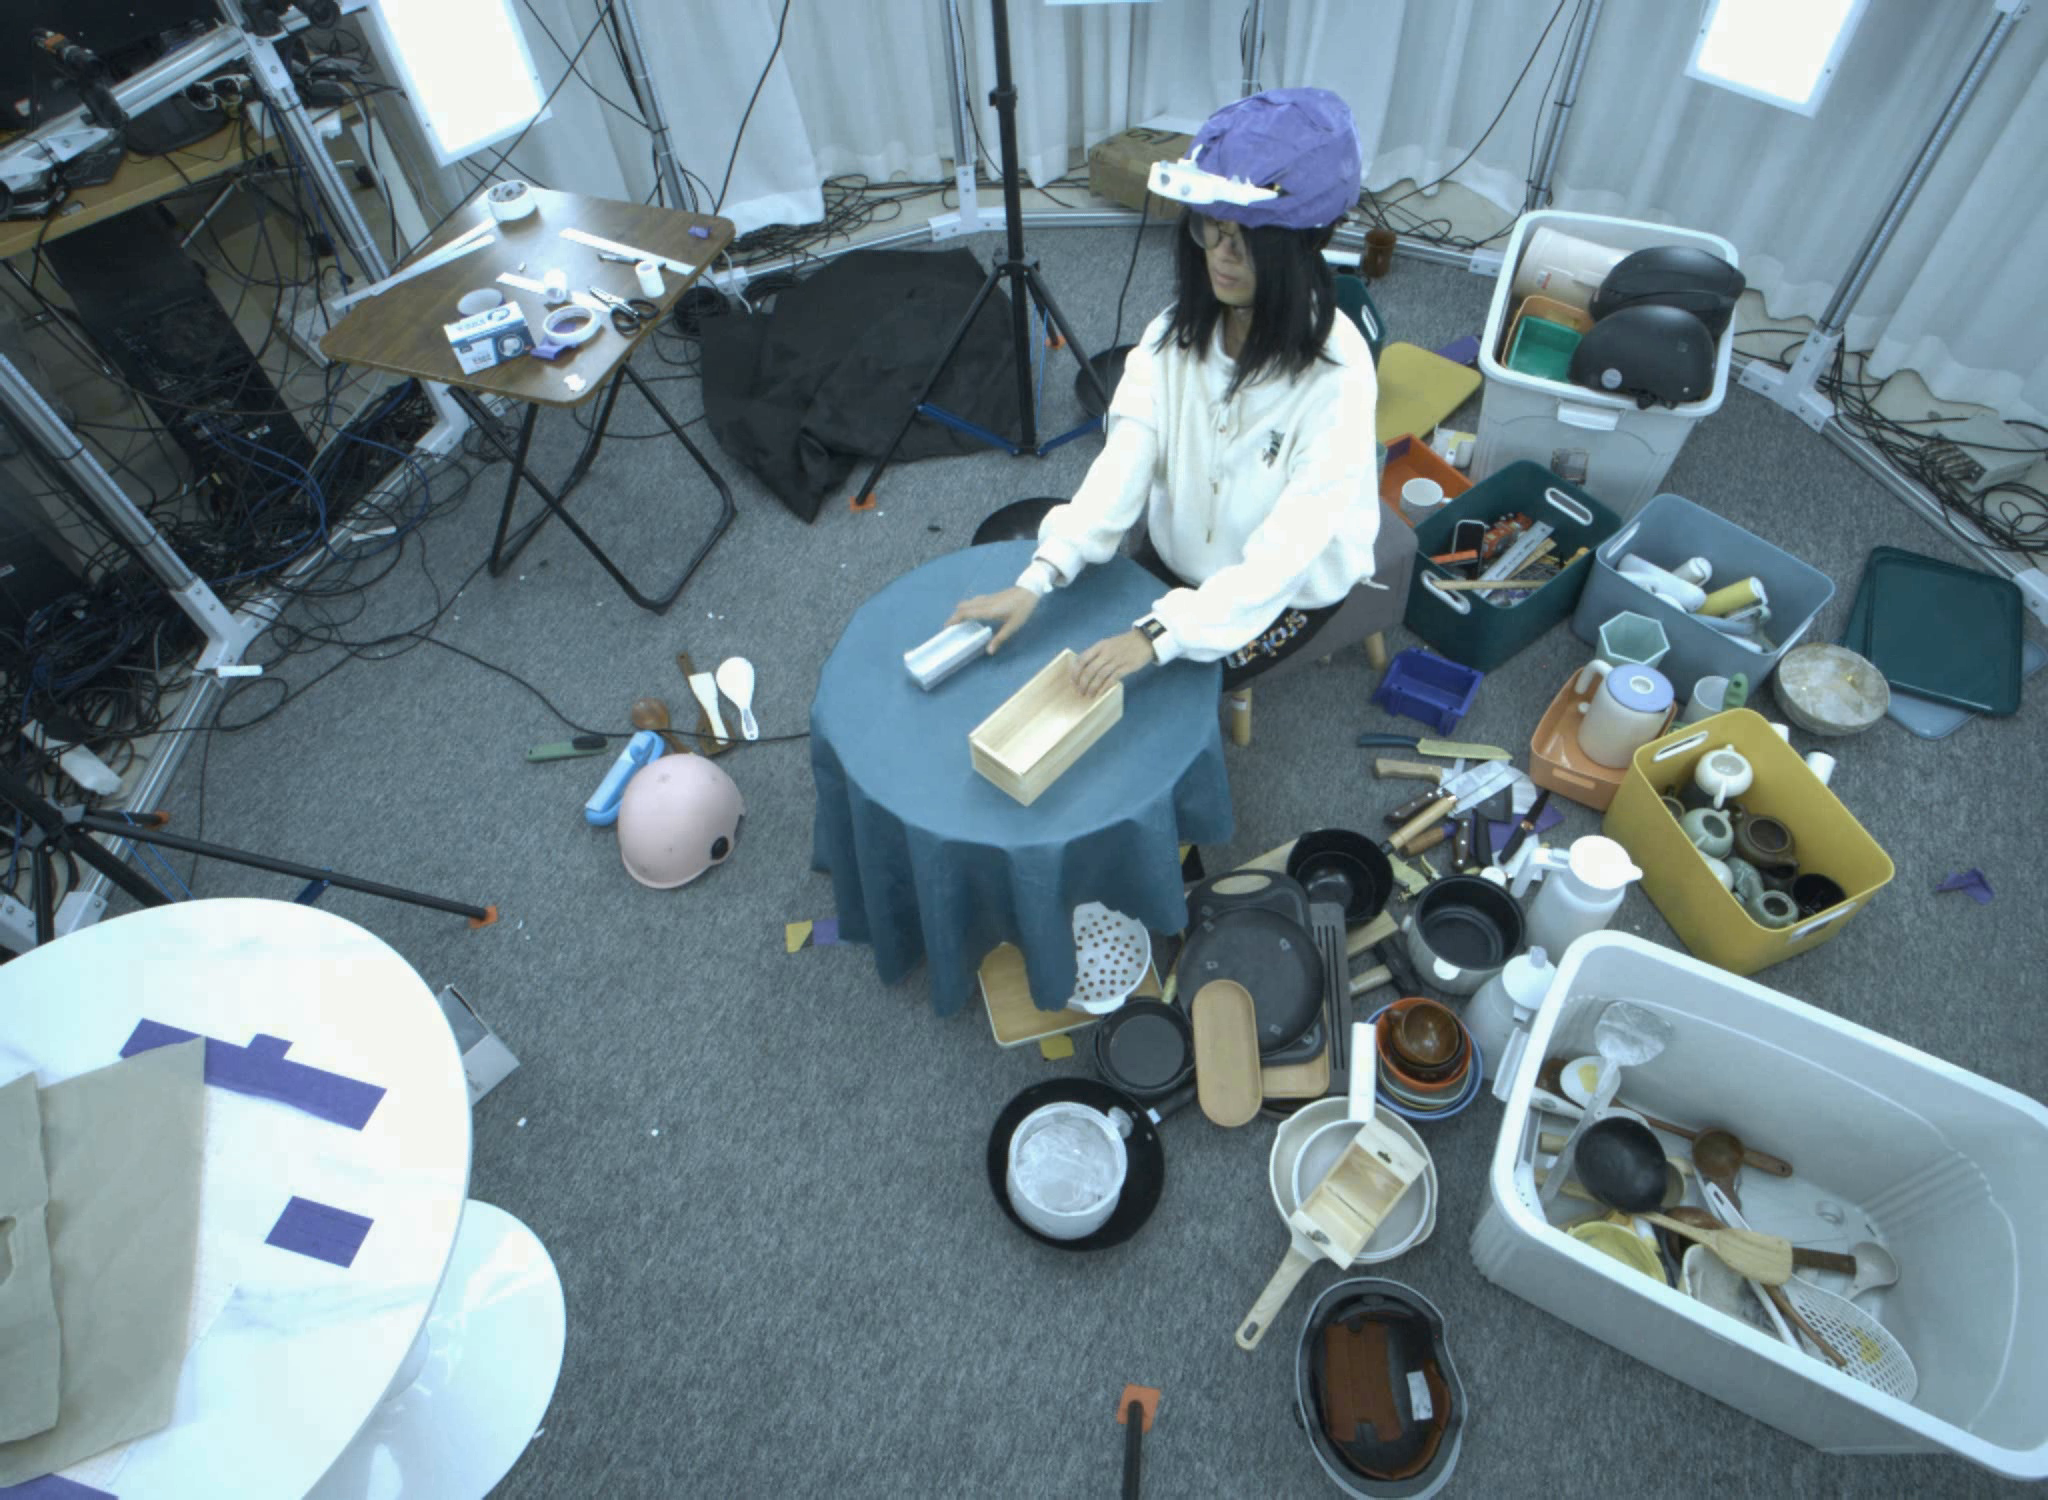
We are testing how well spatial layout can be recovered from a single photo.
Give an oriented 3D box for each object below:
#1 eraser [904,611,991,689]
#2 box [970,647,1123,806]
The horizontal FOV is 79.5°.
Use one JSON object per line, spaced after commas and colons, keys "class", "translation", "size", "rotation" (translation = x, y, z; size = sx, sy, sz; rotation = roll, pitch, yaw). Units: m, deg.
{"class": "eraser", "translation": [-0.116, -0.152, 1.870], "size": [0.135, 0.047, 0.049], "rotation": [-39, 59, -21]}
{"class": "box", "translation": [0.035, -0.036, 1.763], "size": [0.106, 0.081, 0.212], "rotation": [35, 63, 23]}
